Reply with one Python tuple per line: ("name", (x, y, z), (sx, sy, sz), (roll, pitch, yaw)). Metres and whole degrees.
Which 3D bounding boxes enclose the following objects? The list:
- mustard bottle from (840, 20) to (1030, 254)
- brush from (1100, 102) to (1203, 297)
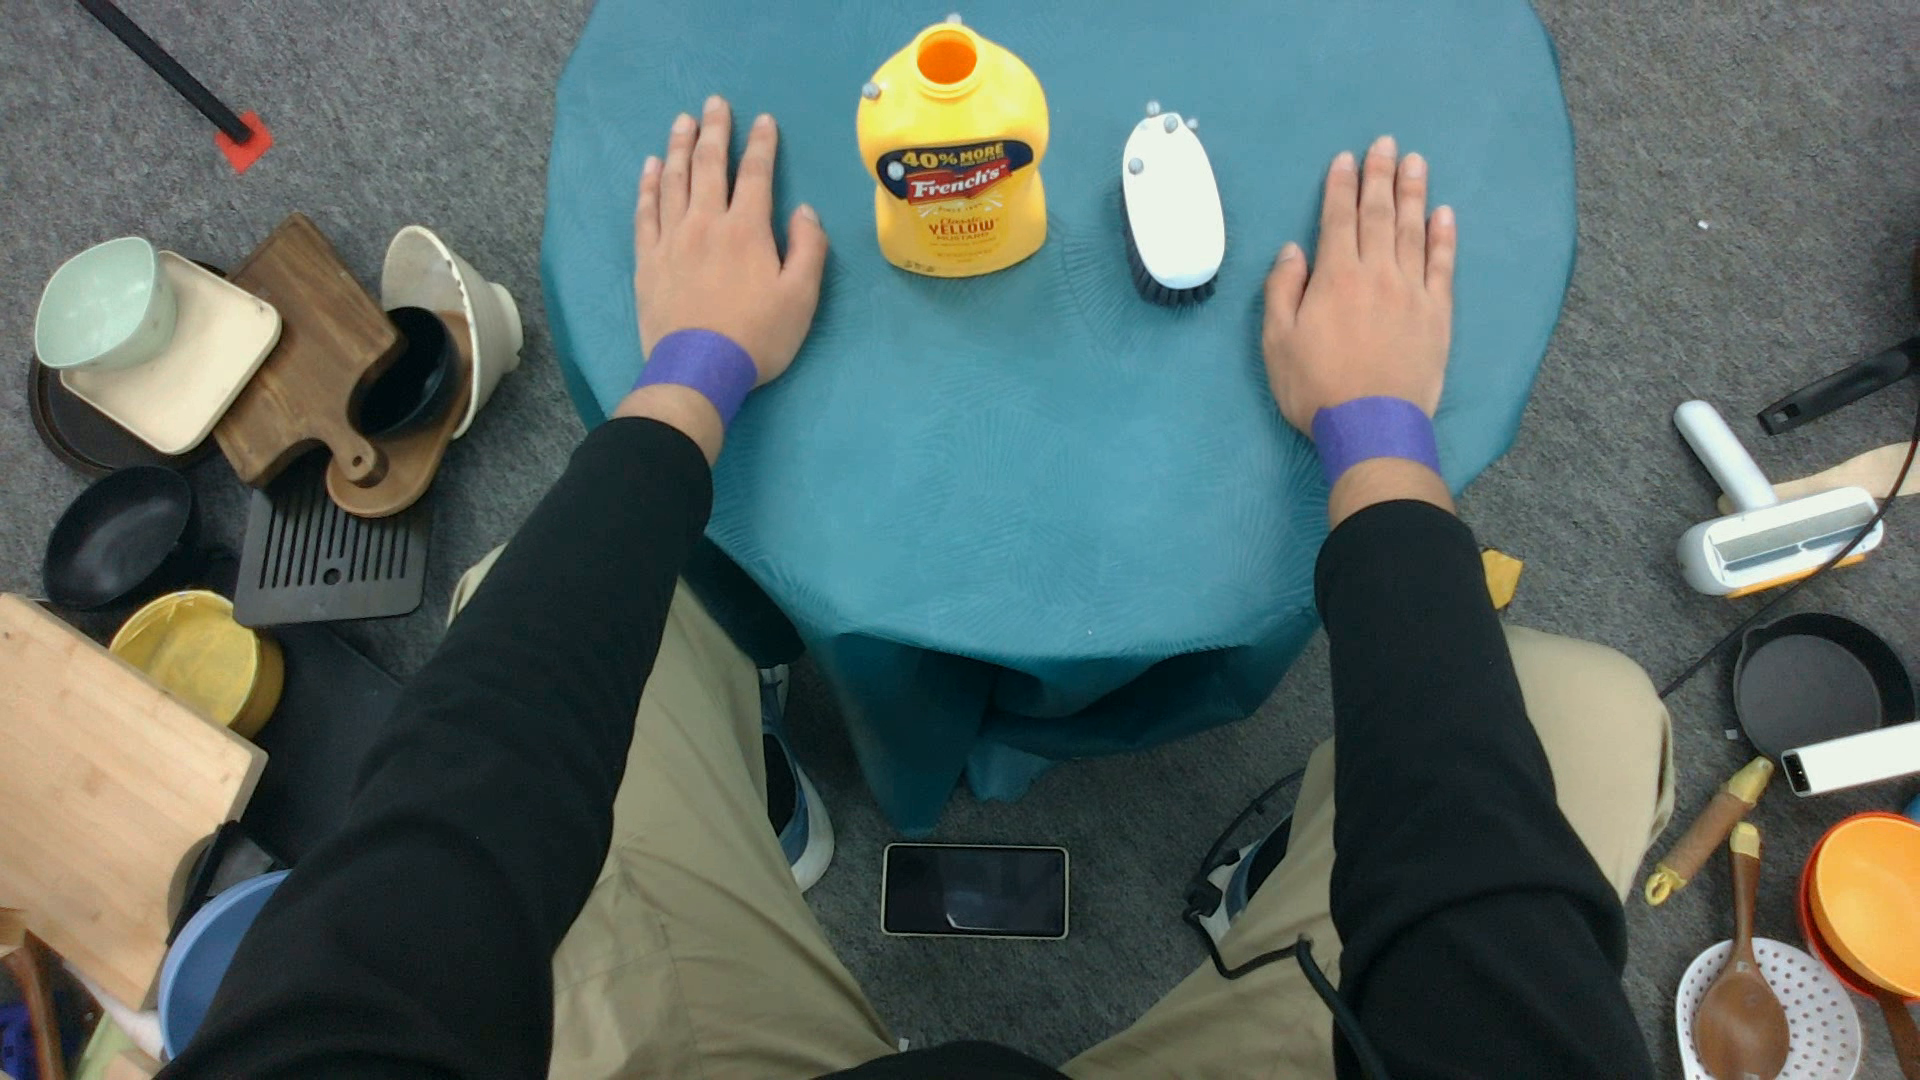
("mustard bottle", (-0.011, -0.208, 0.717), (0.098, 0.171, 0.059), (-10, 79, -2))
("brush", (0.107, -0.193, 0.758), (0.050, 0.072, 0.099), (-9, 74, 1))
